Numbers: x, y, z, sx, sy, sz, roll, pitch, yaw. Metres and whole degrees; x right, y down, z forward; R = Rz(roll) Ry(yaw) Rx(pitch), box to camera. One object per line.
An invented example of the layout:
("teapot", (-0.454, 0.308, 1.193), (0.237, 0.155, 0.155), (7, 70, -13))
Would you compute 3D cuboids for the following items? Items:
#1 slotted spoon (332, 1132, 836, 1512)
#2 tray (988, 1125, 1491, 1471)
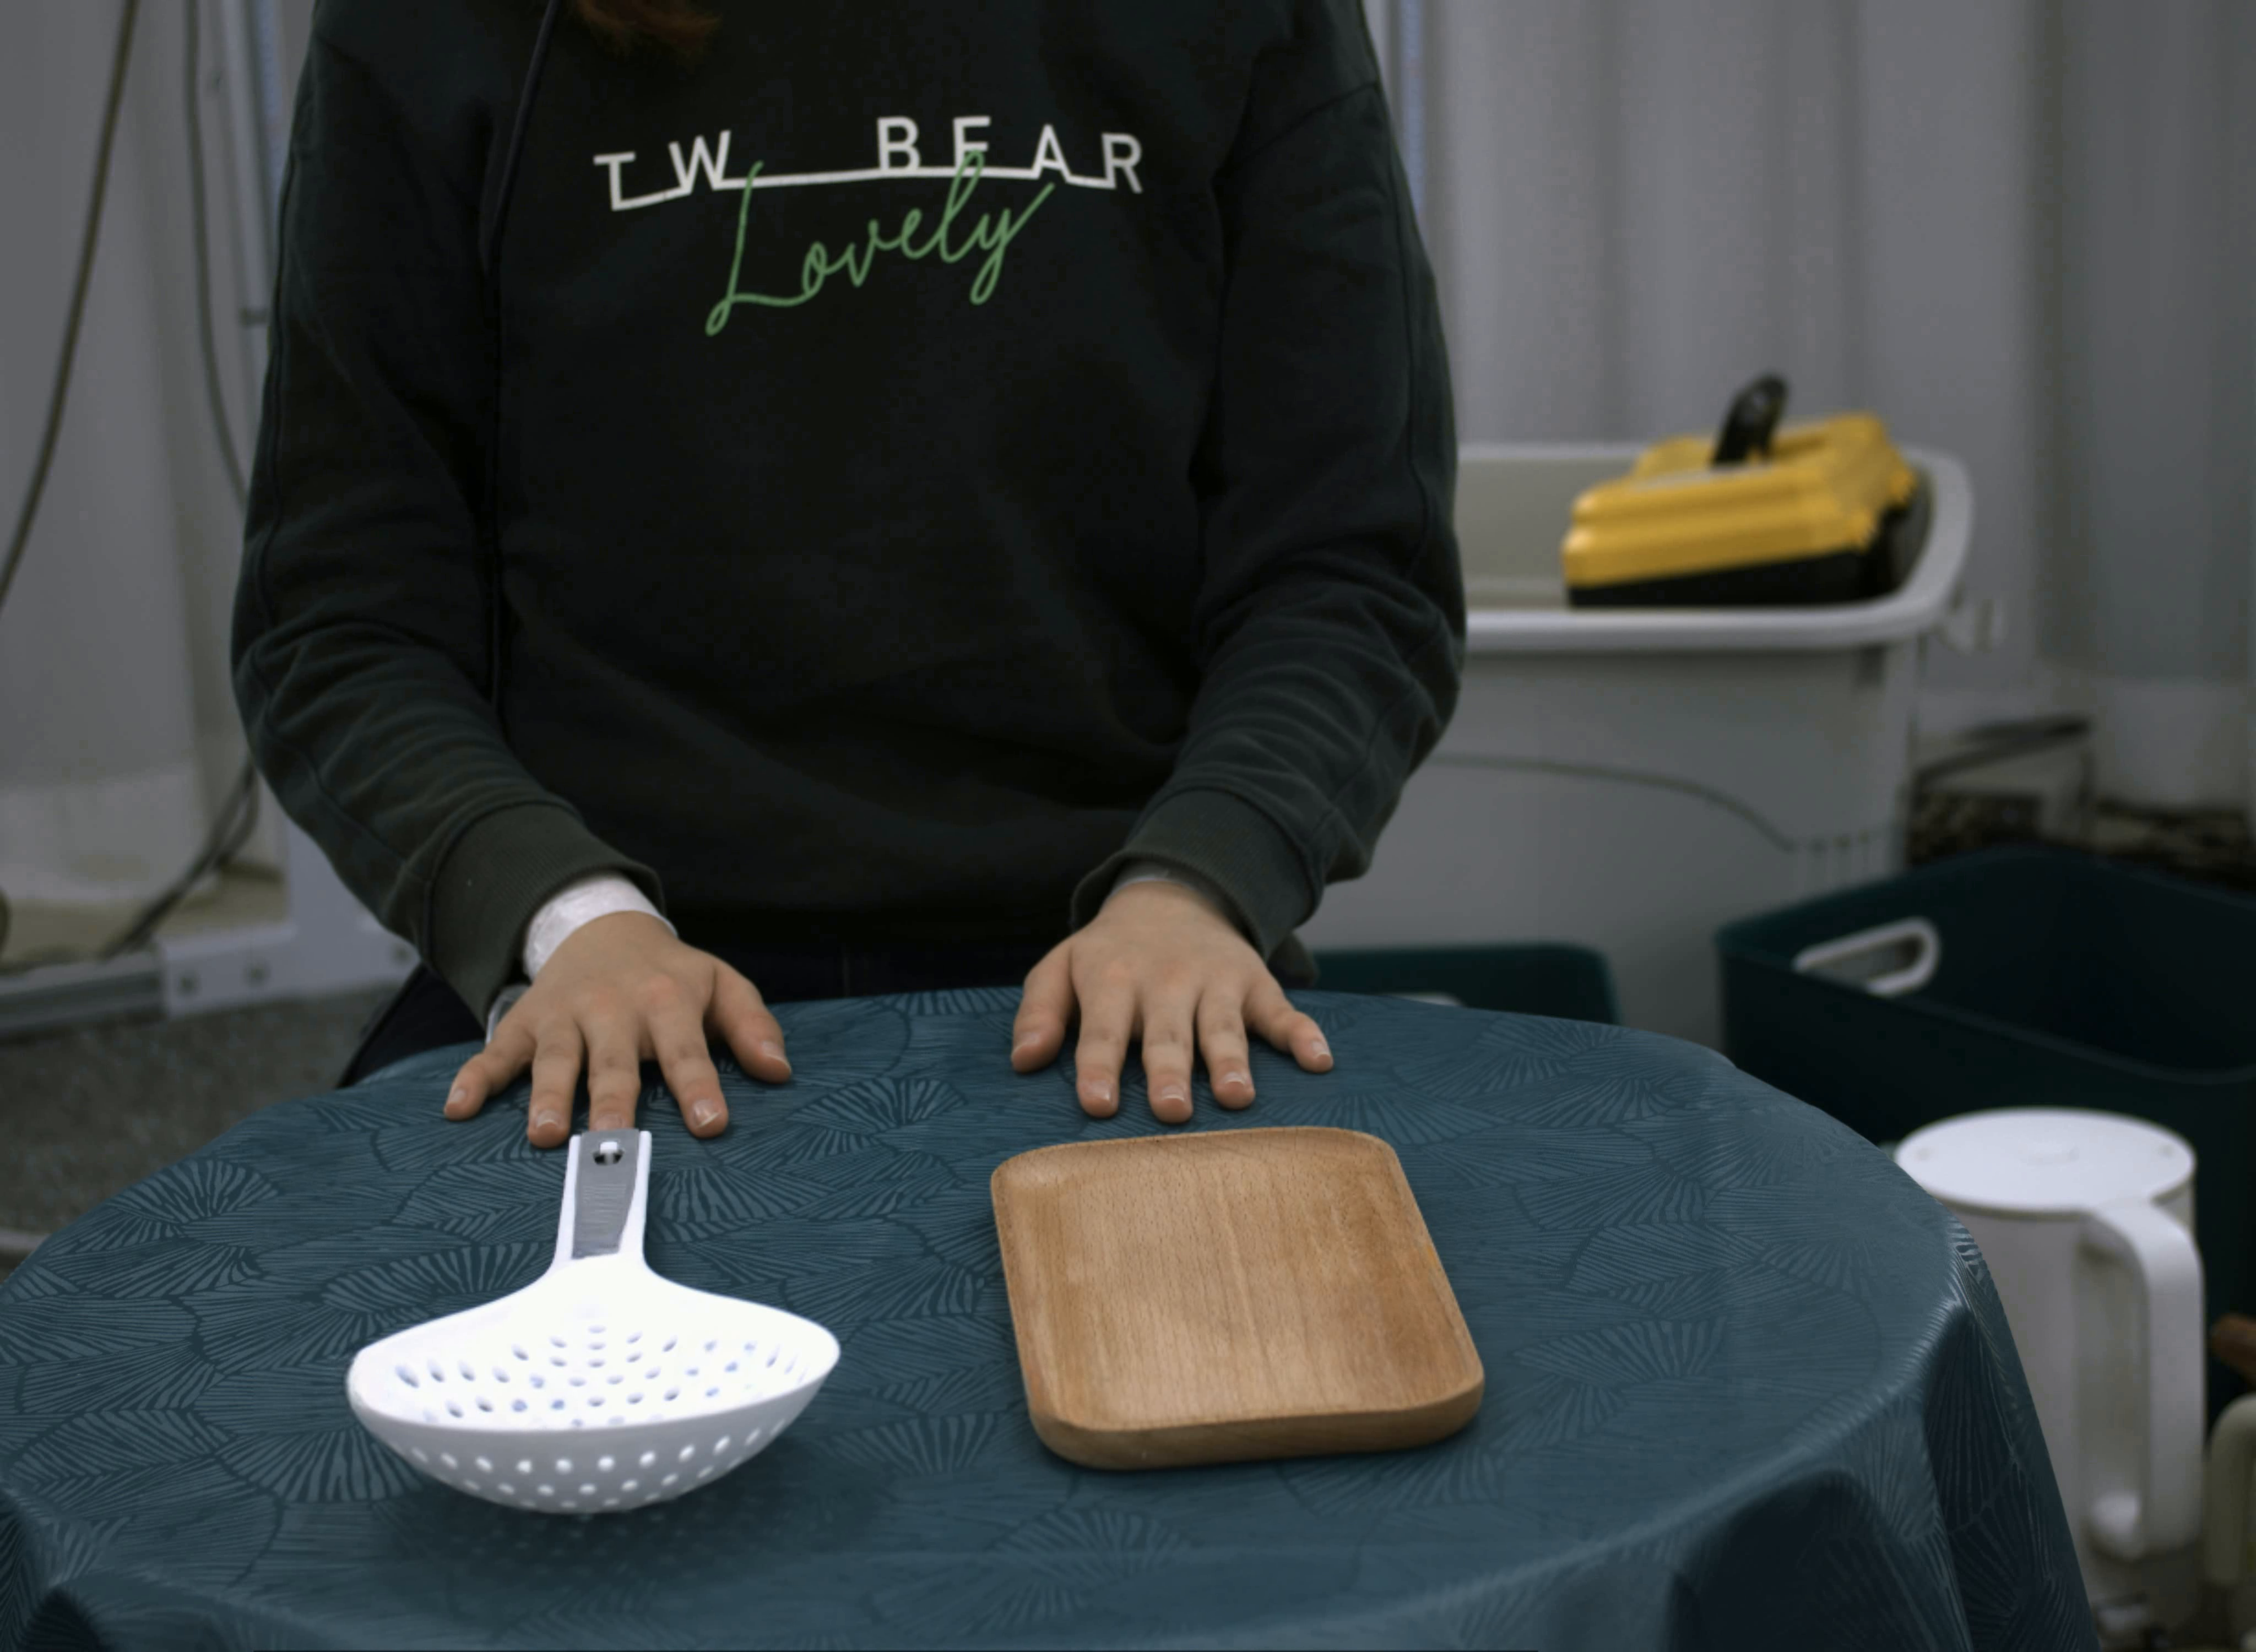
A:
("slotted spoon", (-0.154, 0.134, 1.583), (0.135, 0.045, 0.352), (-1, 14, -4))
("tray", (0.028, 0.135, 1.600), (0.130, 0.023, 0.252), (-2, 14, -4))
